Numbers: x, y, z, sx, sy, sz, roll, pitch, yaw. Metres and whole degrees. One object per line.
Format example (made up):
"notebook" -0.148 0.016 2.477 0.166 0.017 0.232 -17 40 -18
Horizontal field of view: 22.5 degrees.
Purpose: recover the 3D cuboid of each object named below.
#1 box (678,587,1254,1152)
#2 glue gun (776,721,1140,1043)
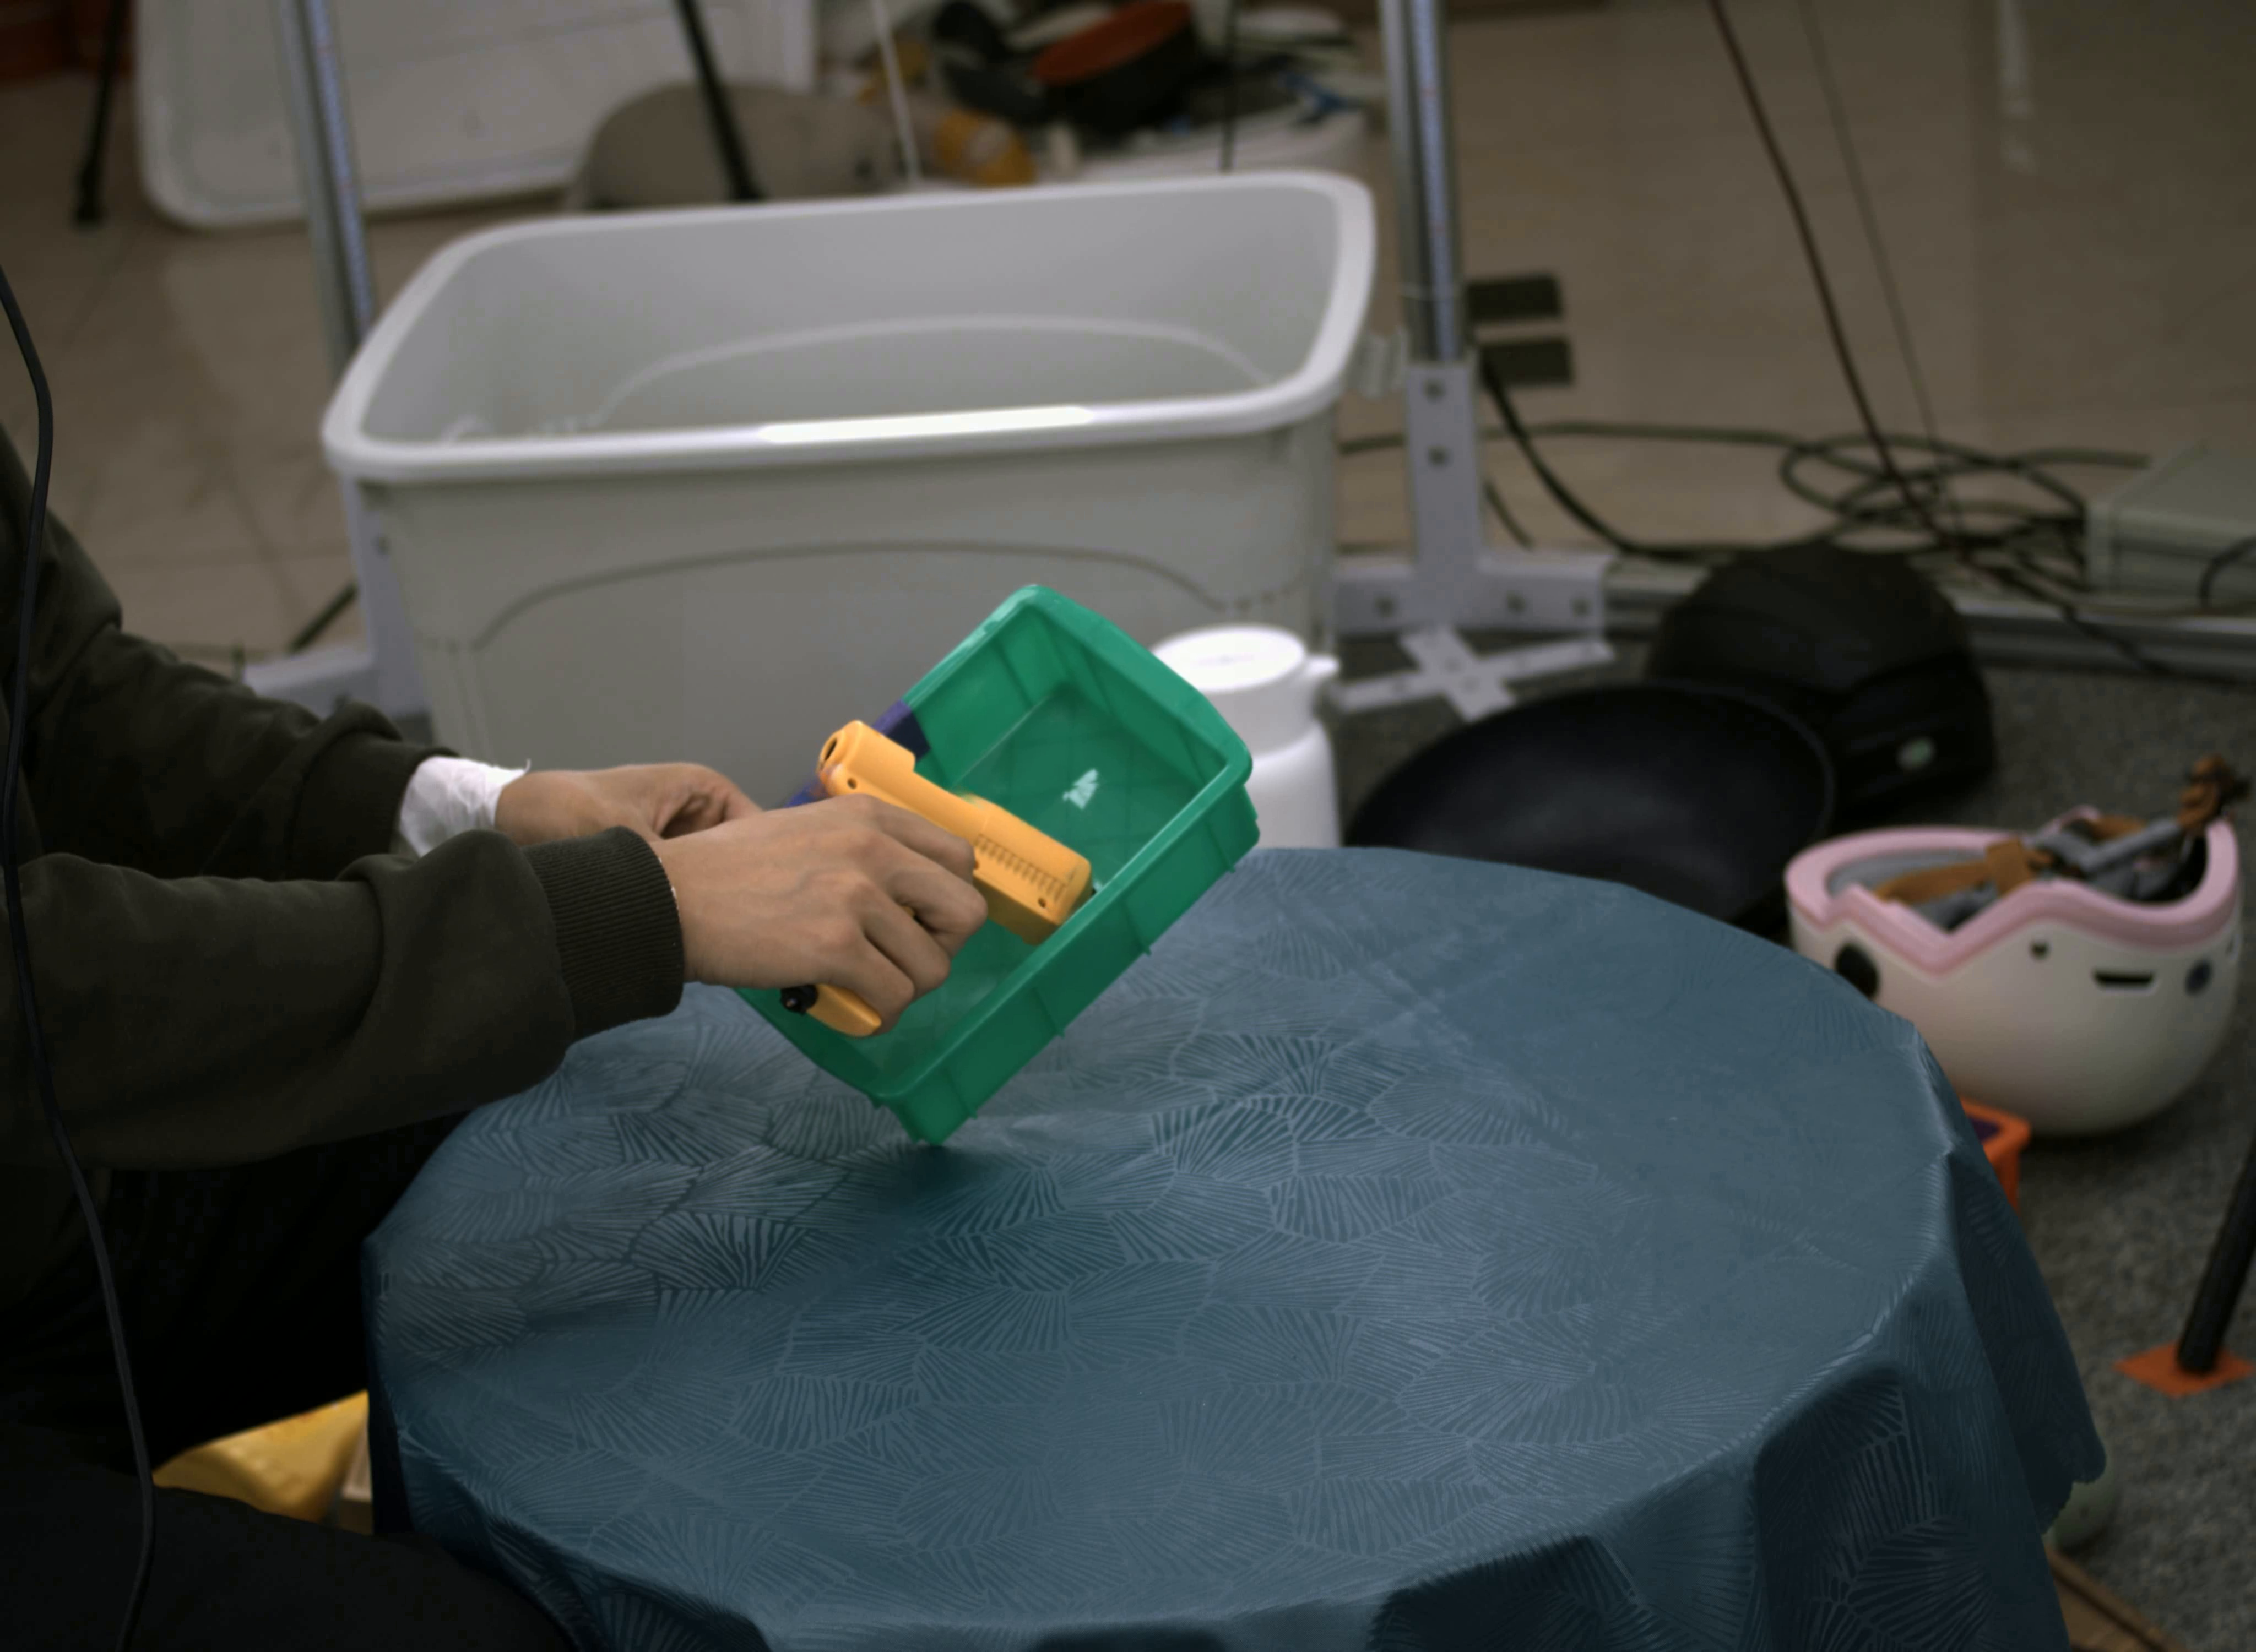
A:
"box" -0.058 0.021 2.217 0.209 0.066 0.137 -46 57 -9
"glue gun" -0.061 0.043 2.161 0.031 0.152 0.131 -36 36 44
